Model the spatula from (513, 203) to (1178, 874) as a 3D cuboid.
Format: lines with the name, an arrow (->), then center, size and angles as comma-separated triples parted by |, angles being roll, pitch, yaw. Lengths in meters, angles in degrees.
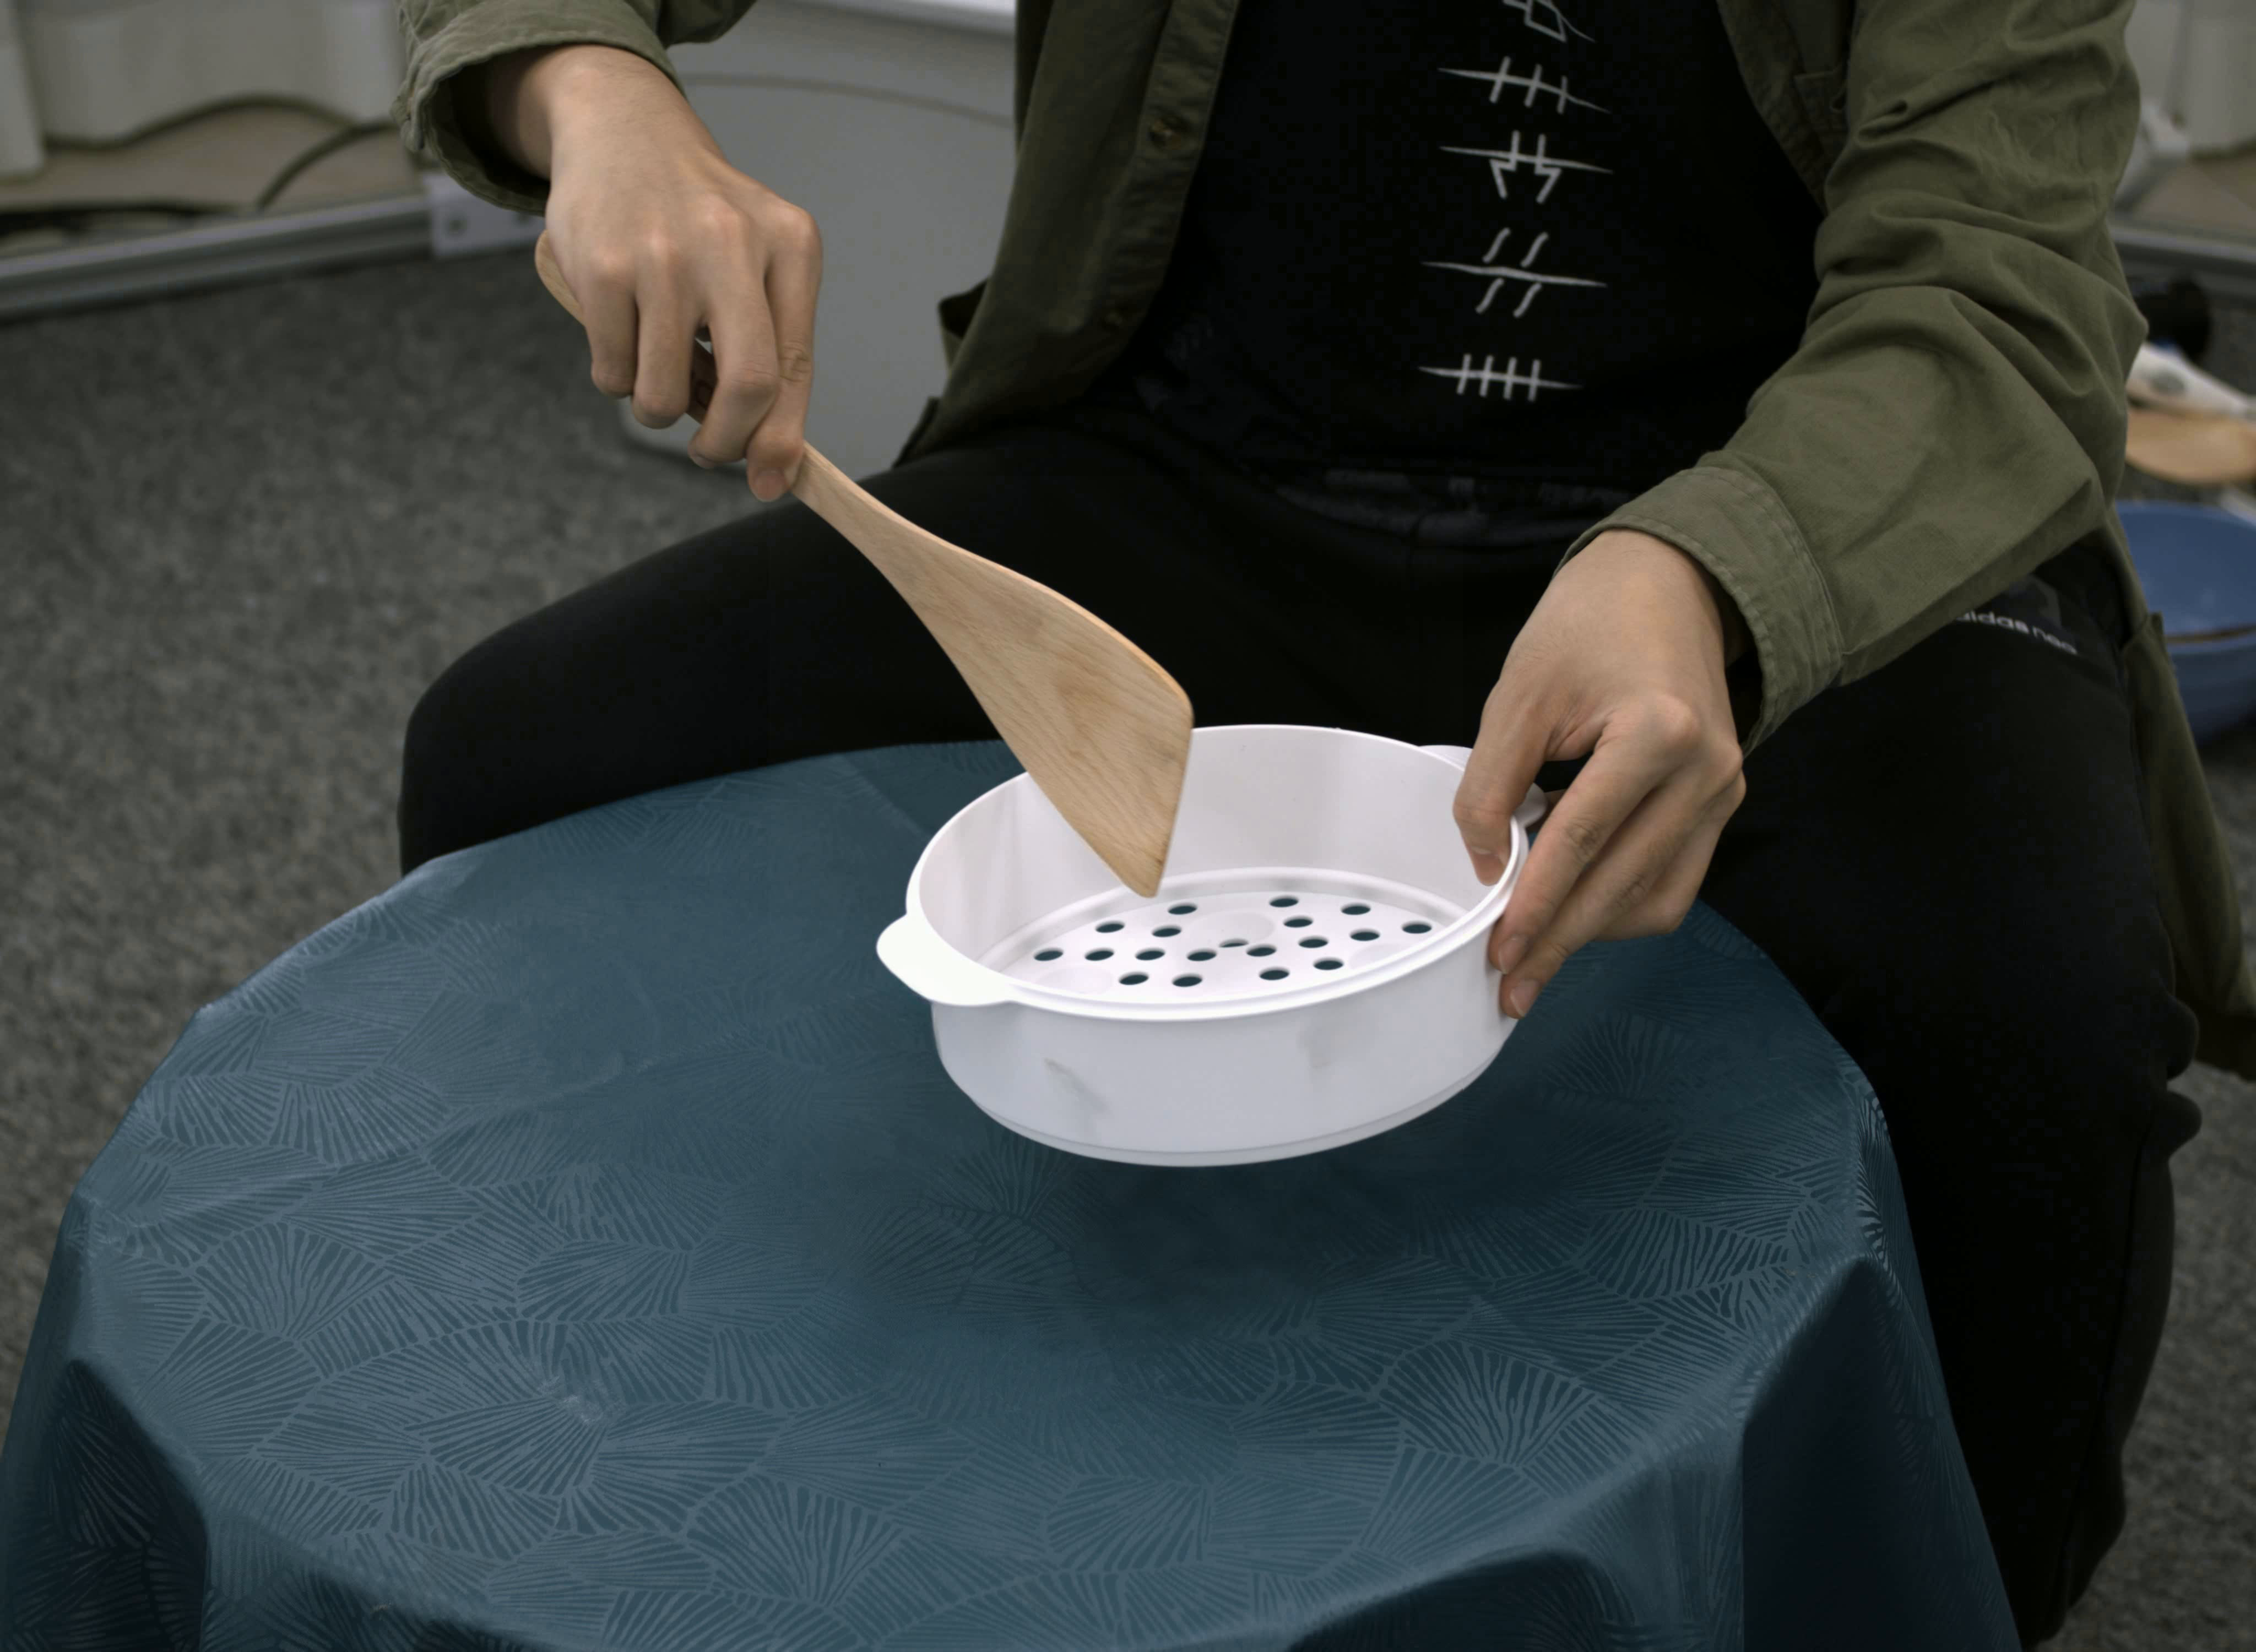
spatula -> -0.097, -0.110, 1.878 | 0.329, 0.078, 0.017 | 40, 41, 23

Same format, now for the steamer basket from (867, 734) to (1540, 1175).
steamer basket -> 0.027, 0.042, 1.819 | 0.232, 0.068, 0.202 | -17, 28, -24
